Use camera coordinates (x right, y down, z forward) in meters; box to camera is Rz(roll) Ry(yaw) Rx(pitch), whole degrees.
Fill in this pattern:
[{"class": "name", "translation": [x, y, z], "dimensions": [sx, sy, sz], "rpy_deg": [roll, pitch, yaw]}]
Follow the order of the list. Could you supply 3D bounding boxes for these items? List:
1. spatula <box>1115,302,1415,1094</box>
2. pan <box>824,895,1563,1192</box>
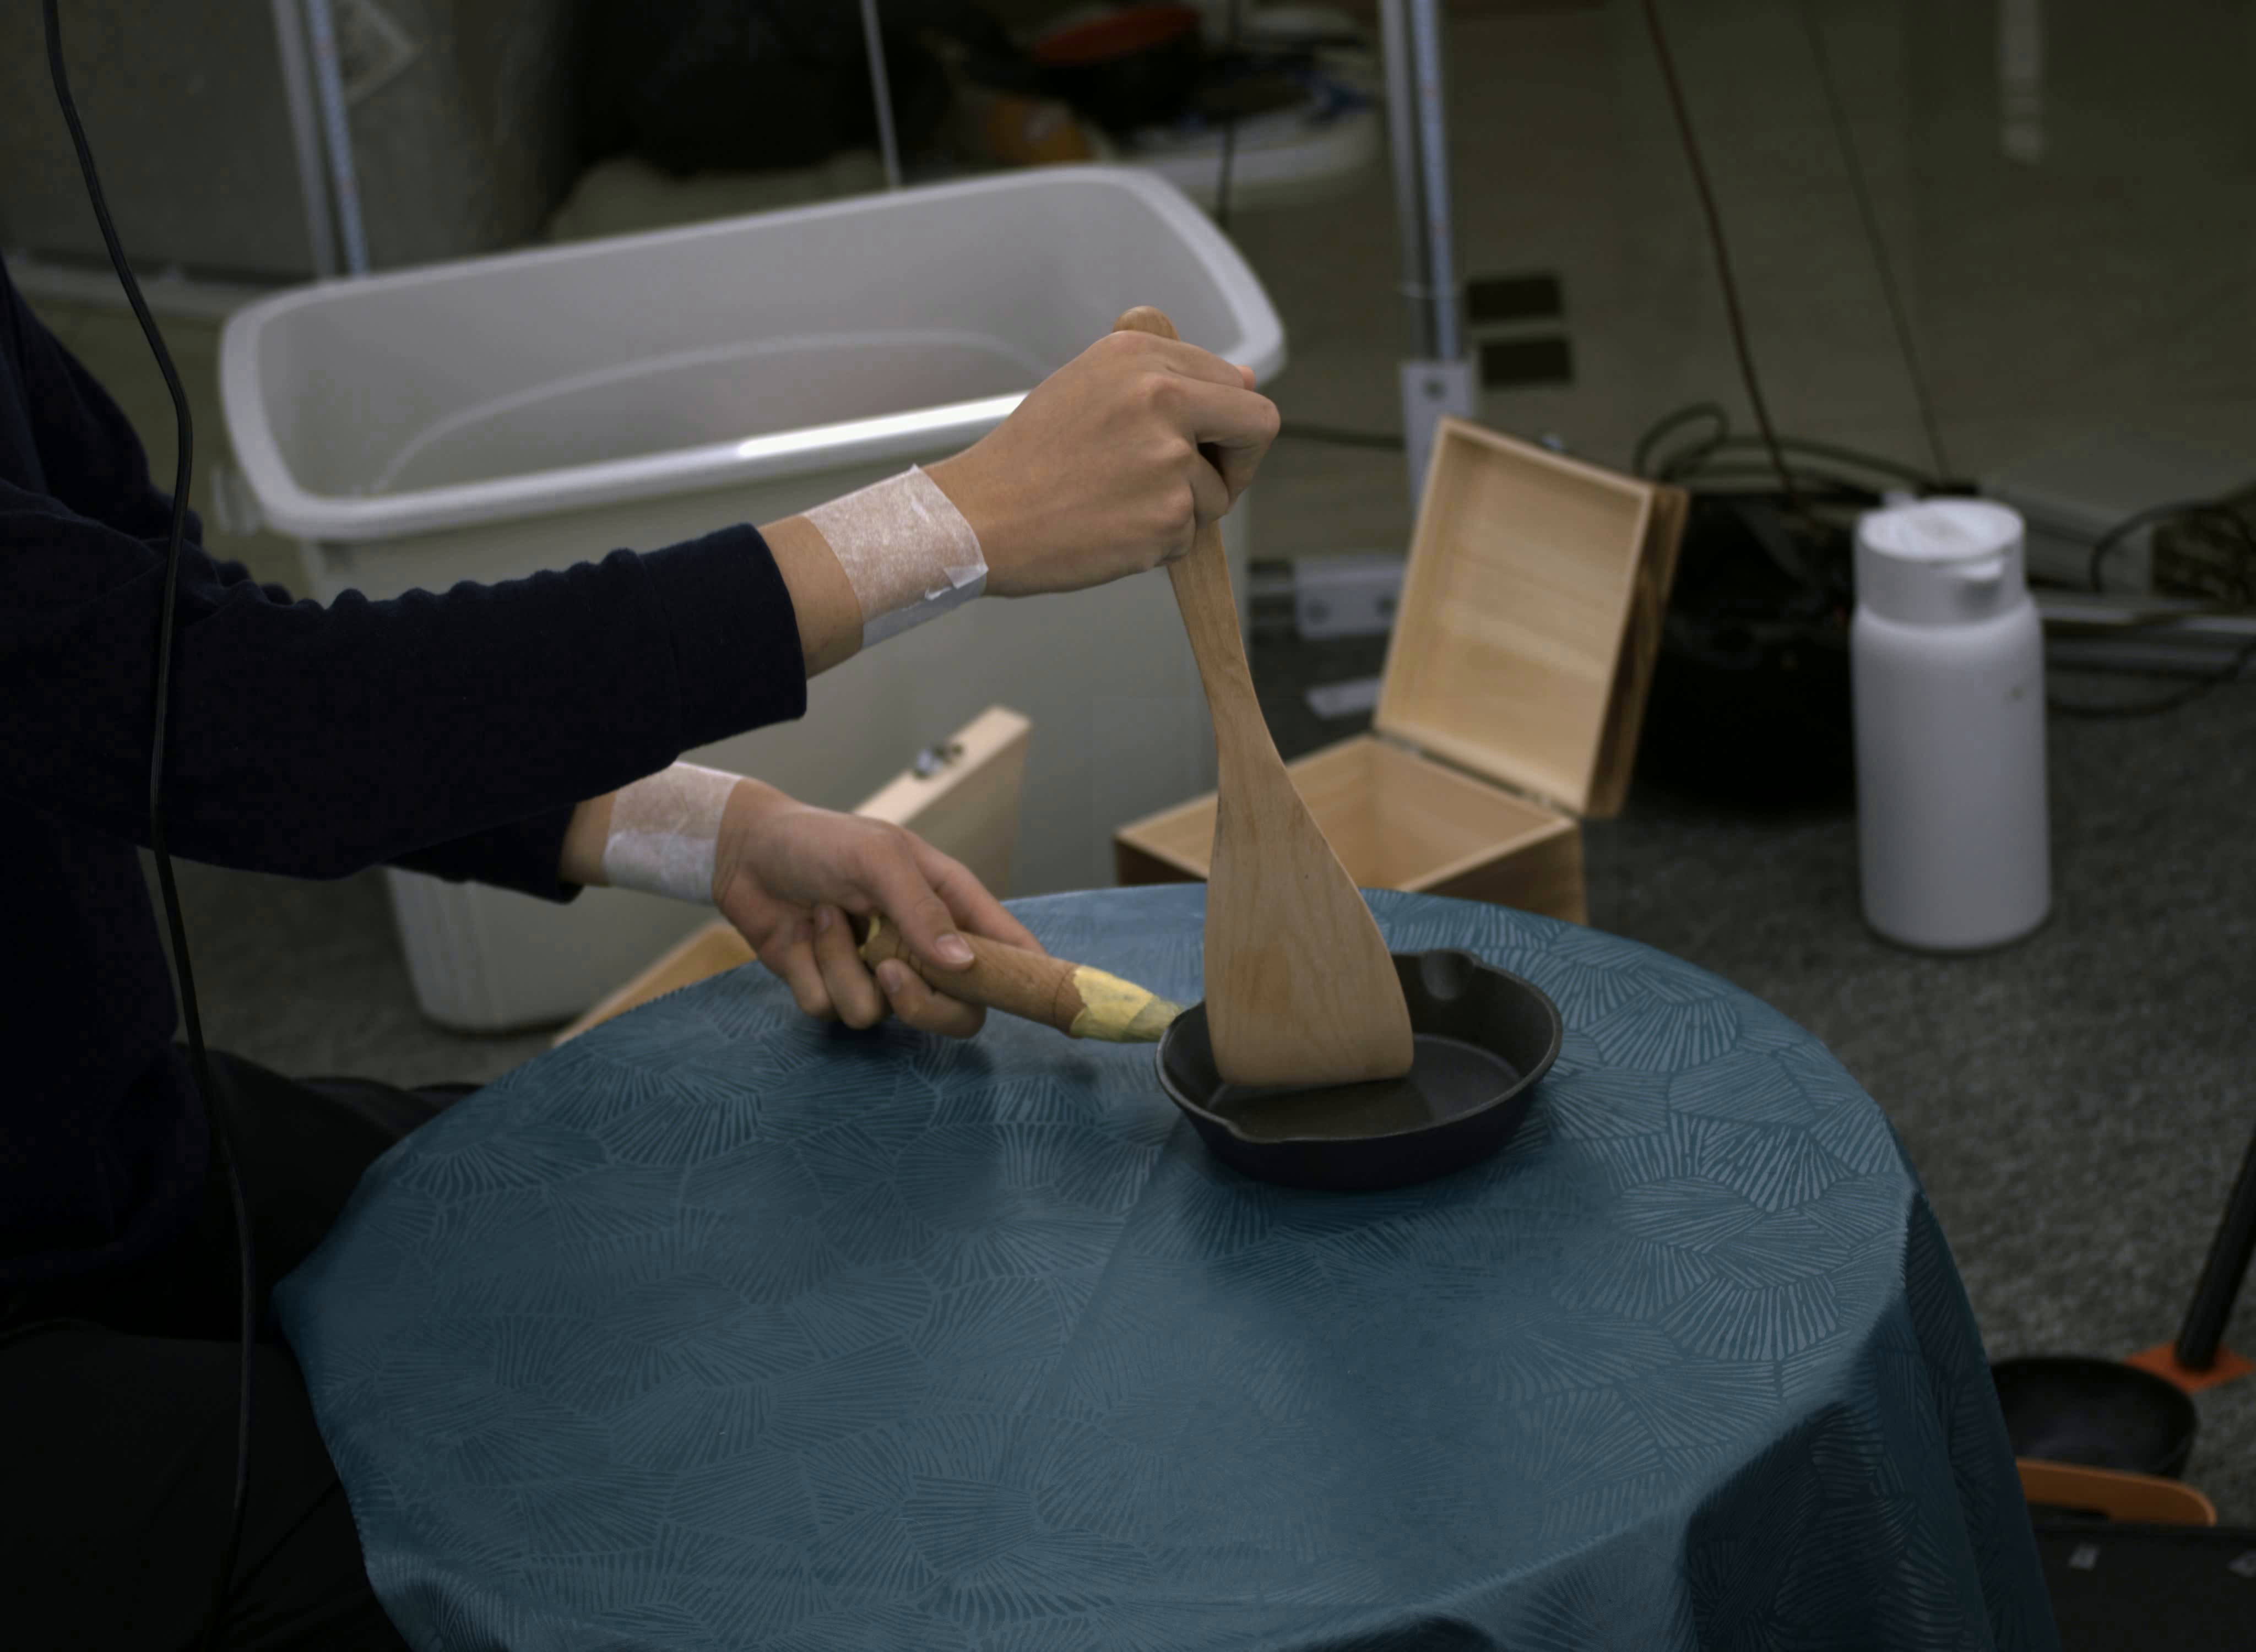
[{"class": "spatula", "translation": [0.040, -0.042, 2.138], "dimensions": [0.080, 0.332, 0.016], "rpy_deg": [-13, 21, 1]}, {"class": "pan", "translation": [0.018, 0.076, 2.216], "dimensions": [0.322, 0.050, 0.167], "rpy_deg": [11, 30, 31]}]
